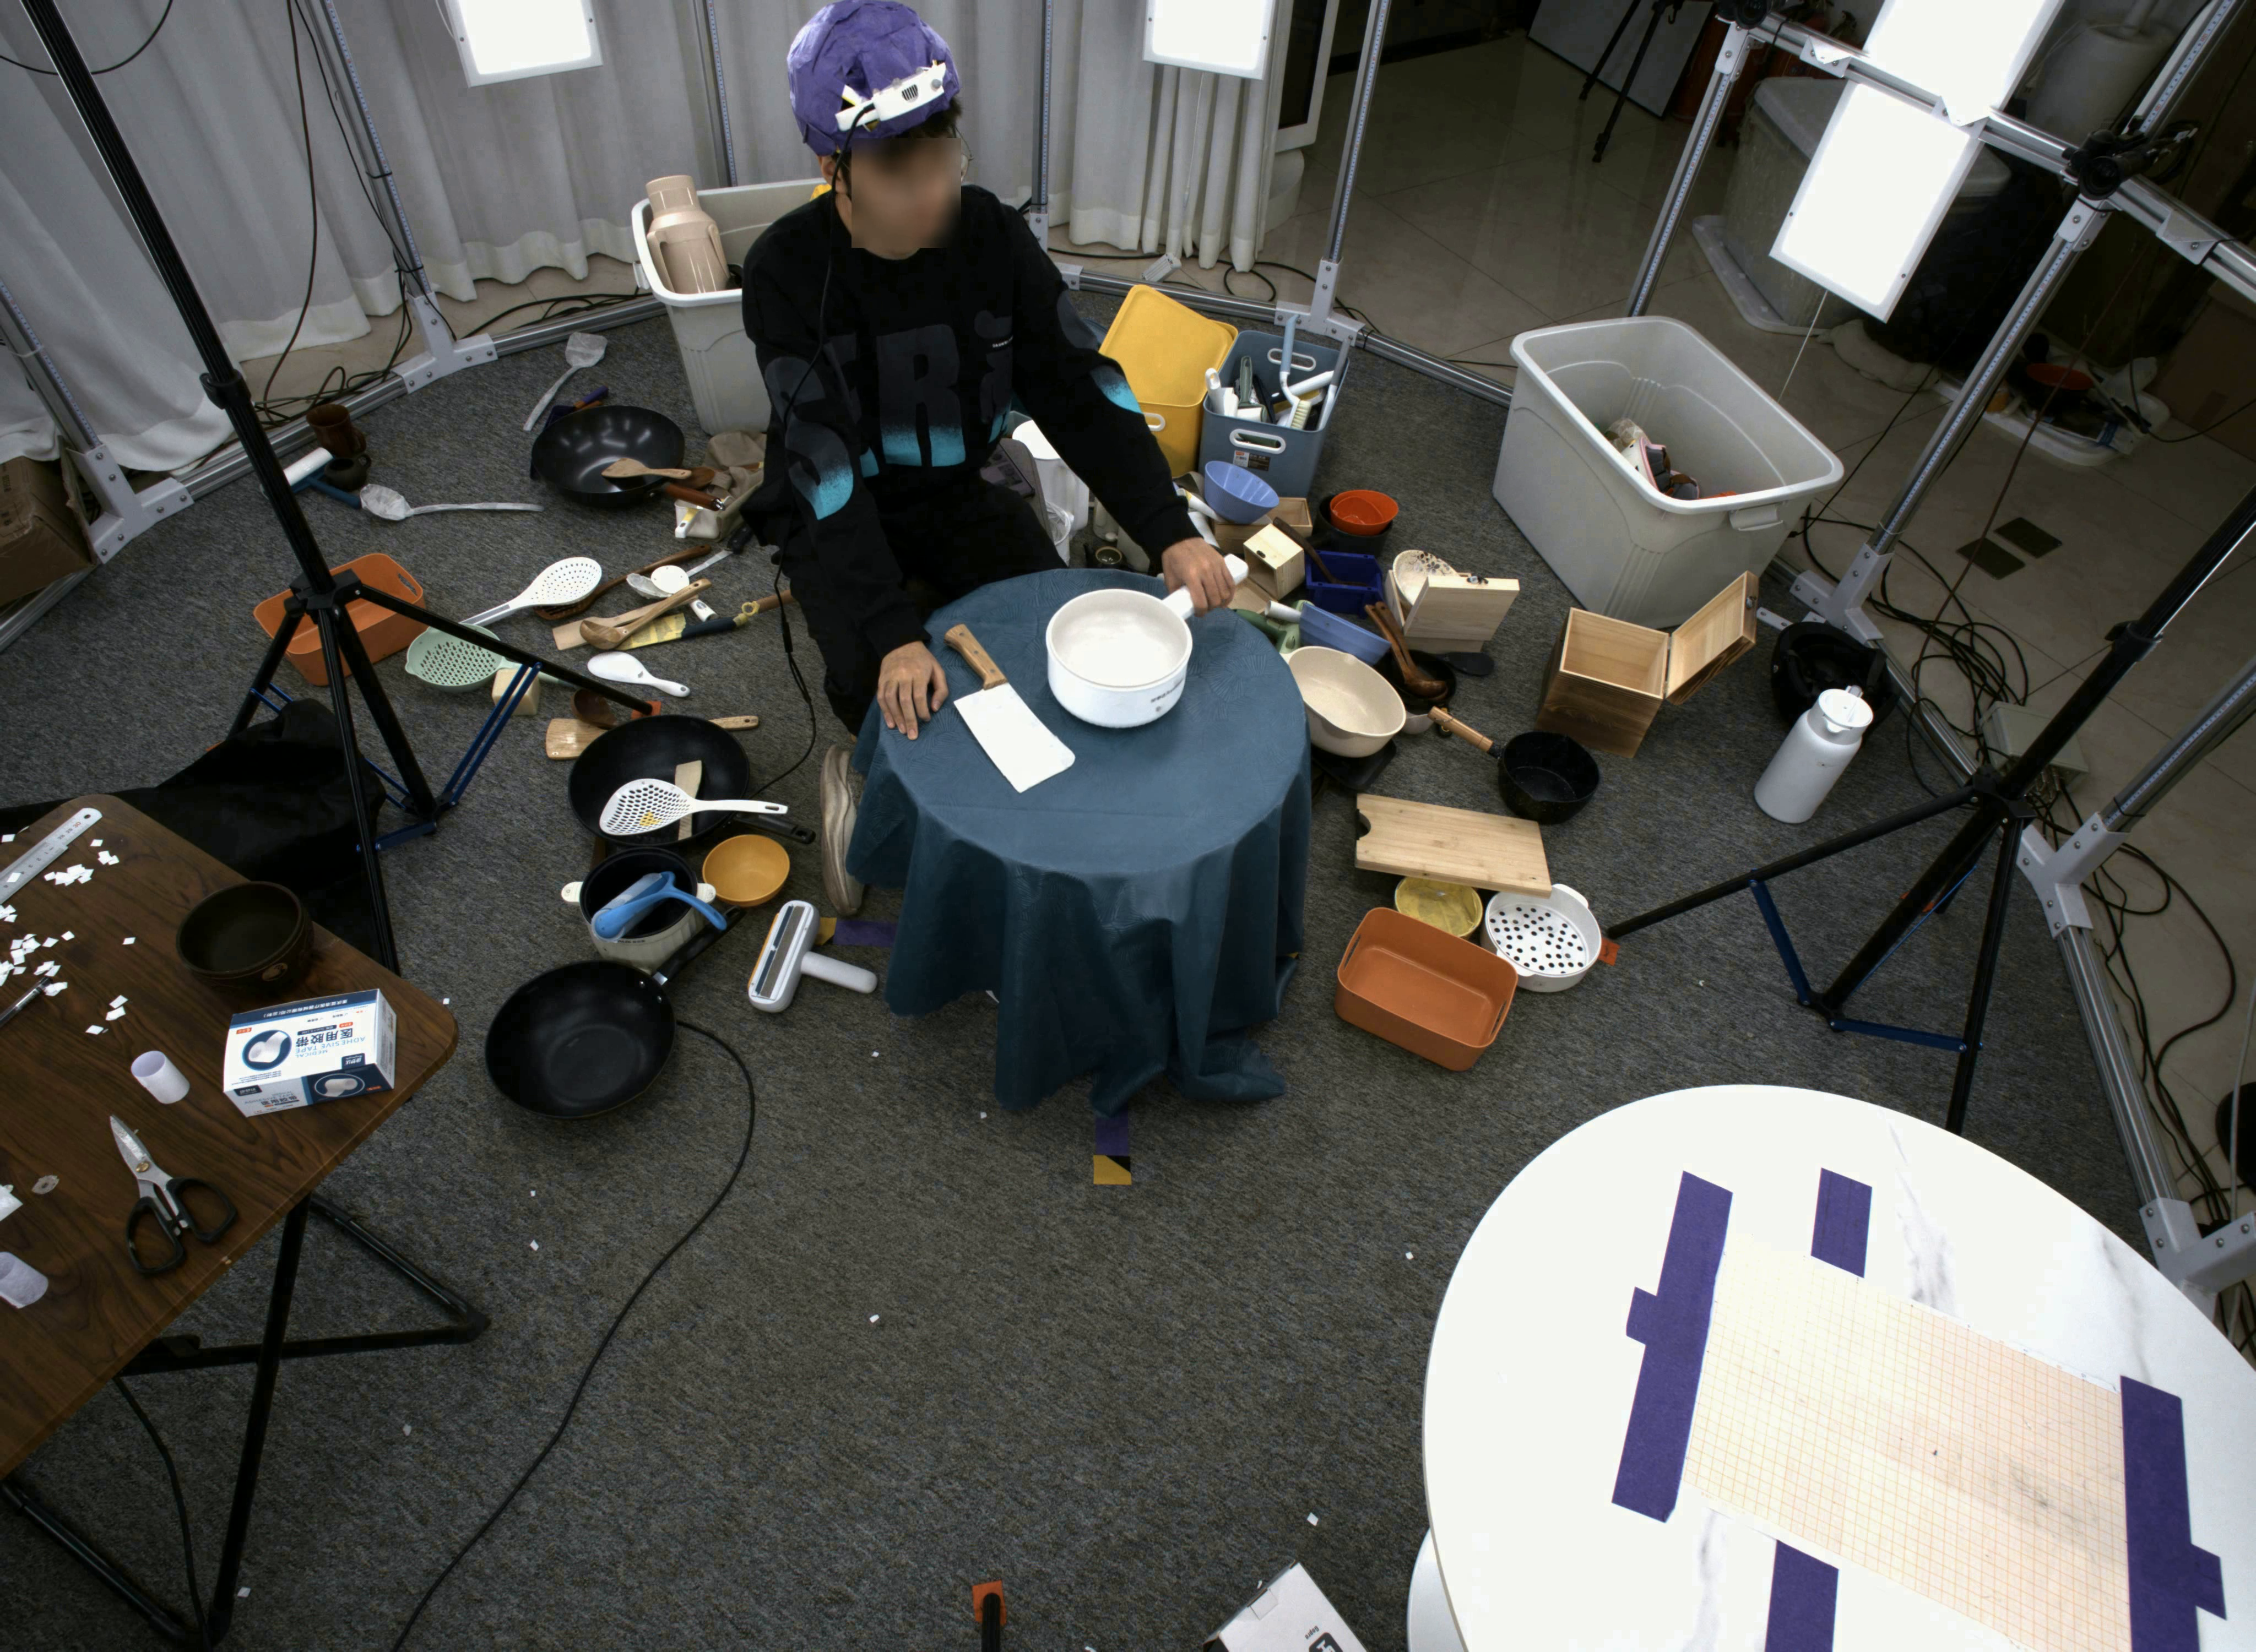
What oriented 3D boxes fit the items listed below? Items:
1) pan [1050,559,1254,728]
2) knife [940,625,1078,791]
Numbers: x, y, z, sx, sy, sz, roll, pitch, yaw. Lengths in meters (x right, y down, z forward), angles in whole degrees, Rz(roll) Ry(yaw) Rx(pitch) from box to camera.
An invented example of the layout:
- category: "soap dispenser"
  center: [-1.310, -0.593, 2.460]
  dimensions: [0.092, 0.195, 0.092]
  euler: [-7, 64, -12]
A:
- category: "pan"
  center: [0.045, -0.269, 1.842]
  dimensions: [0.204, 0.099, 0.358]
  euler: [37, 56, 26]
- category: "knife"
  center: [-0.179, -0.172, 1.795]
  dimensions: [0.114, 0.021, 0.322]
  euler: [-21, 56, -20]
